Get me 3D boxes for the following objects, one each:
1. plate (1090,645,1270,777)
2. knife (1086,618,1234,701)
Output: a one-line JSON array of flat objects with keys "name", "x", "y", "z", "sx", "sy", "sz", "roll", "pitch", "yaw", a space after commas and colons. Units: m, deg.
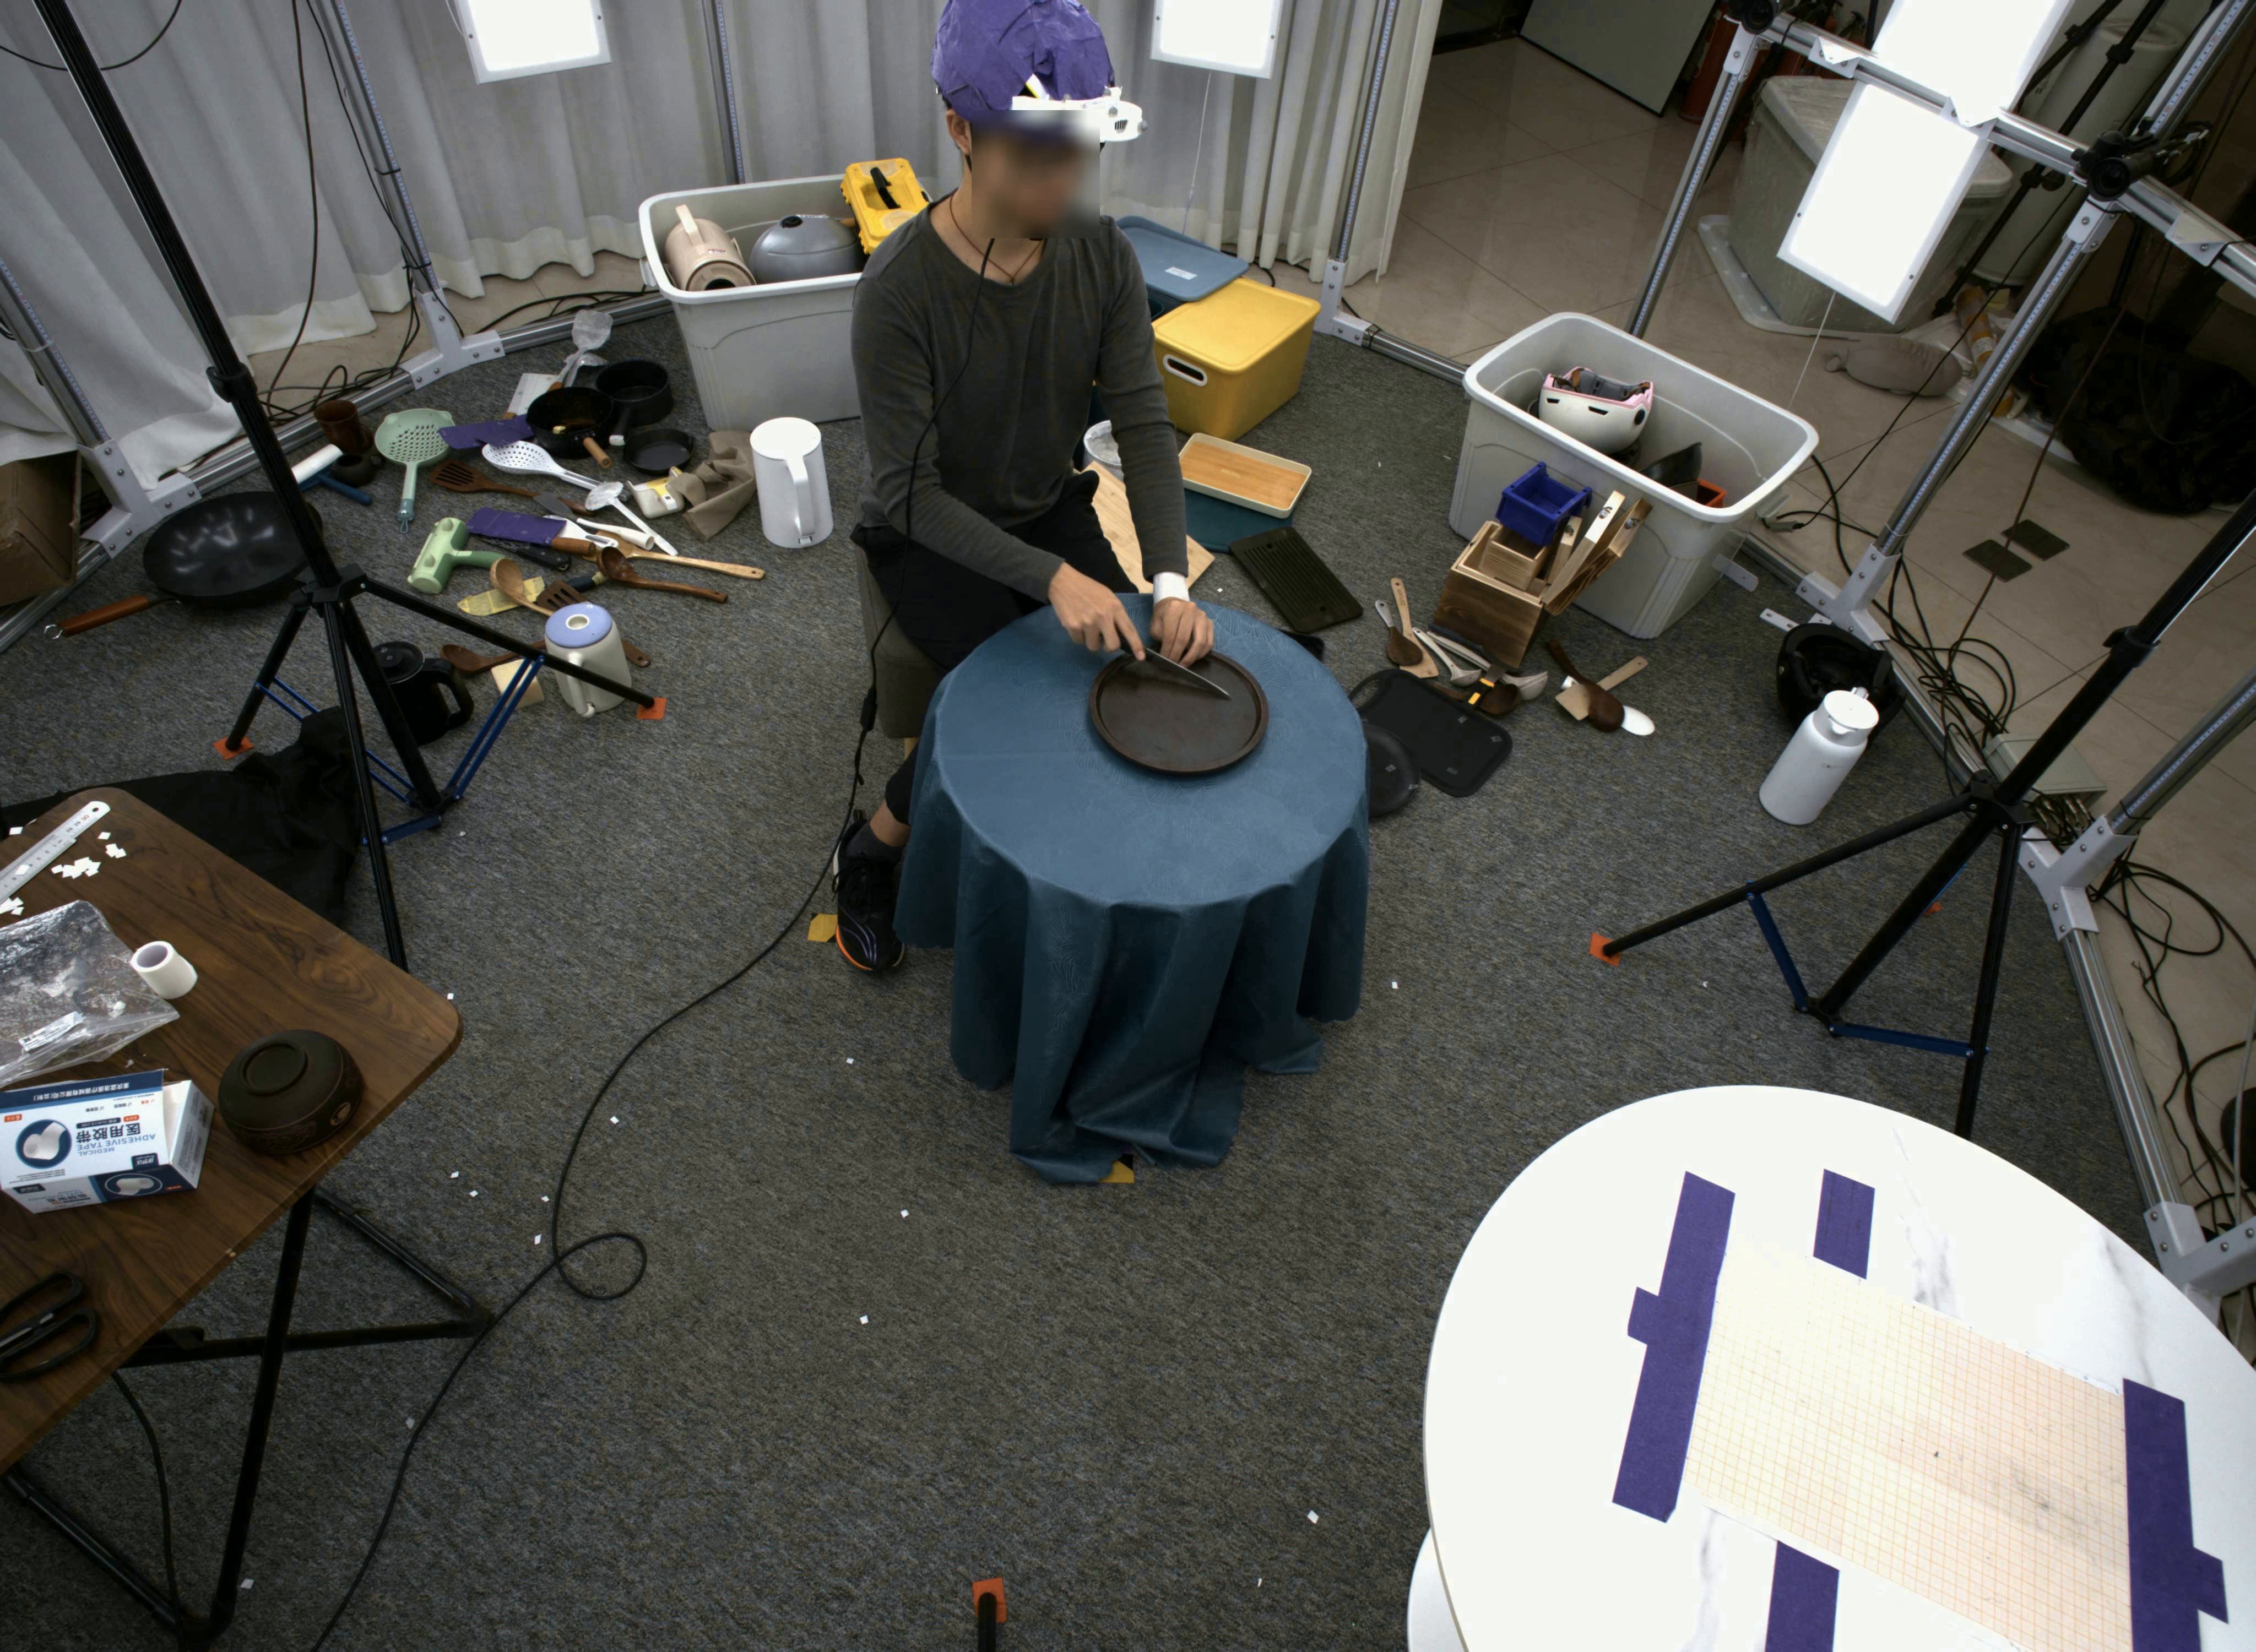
[{"name": "plate", "x": 0.072, "y": -0.163, "z": 1.799, "sx": 0.254, "sy": 0.028, "sz": 0.261, "roll": 2, "pitch": 50, "yaw": -3}, {"name": "knife", "x": 0.047, "y": -0.237, "z": 1.825, "sx": 0.238, "sy": 0.024, "sz": 0.016, "roll": 29, "pitch": 44, "yaw": 5}]
